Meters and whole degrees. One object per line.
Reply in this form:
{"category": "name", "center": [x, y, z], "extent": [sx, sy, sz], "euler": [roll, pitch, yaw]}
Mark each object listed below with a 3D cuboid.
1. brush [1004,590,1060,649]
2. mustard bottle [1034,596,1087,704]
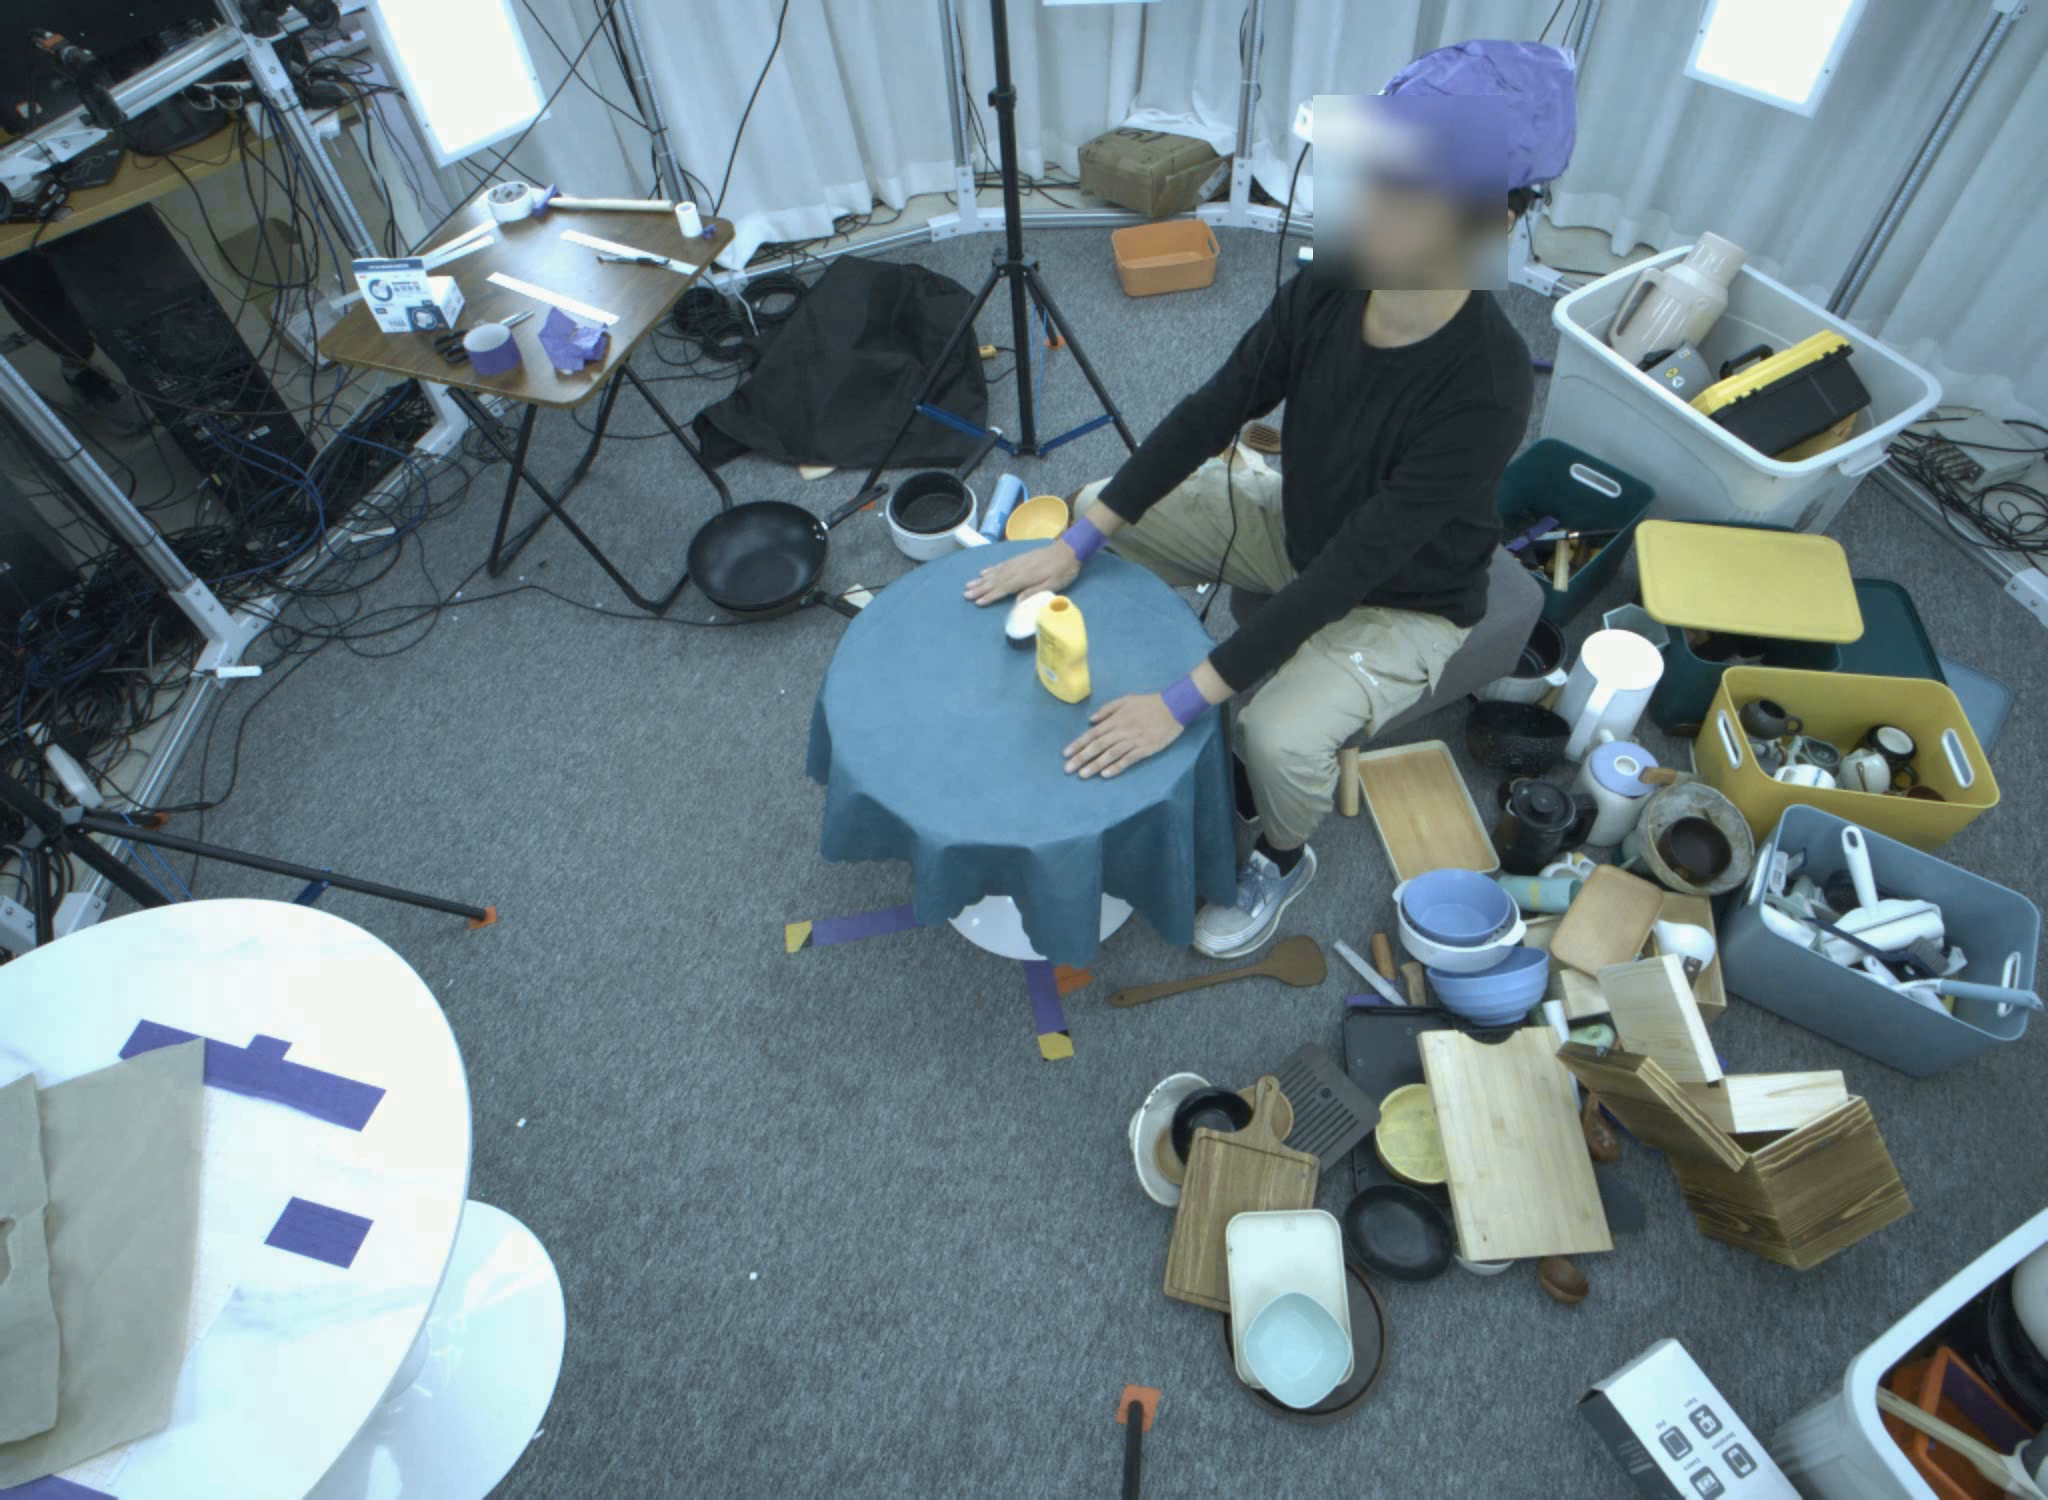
{"category": "brush", "center": [0.014, -0.209, 1.891], "extent": [0.100, 0.073, 0.049], "euler": [-31, 60, -16]}
{"category": "mustard bottle", "center": [0.052, -0.153, 1.793], "extent": [0.060, 0.174, 0.096], "euler": [-35, 58, -23]}
